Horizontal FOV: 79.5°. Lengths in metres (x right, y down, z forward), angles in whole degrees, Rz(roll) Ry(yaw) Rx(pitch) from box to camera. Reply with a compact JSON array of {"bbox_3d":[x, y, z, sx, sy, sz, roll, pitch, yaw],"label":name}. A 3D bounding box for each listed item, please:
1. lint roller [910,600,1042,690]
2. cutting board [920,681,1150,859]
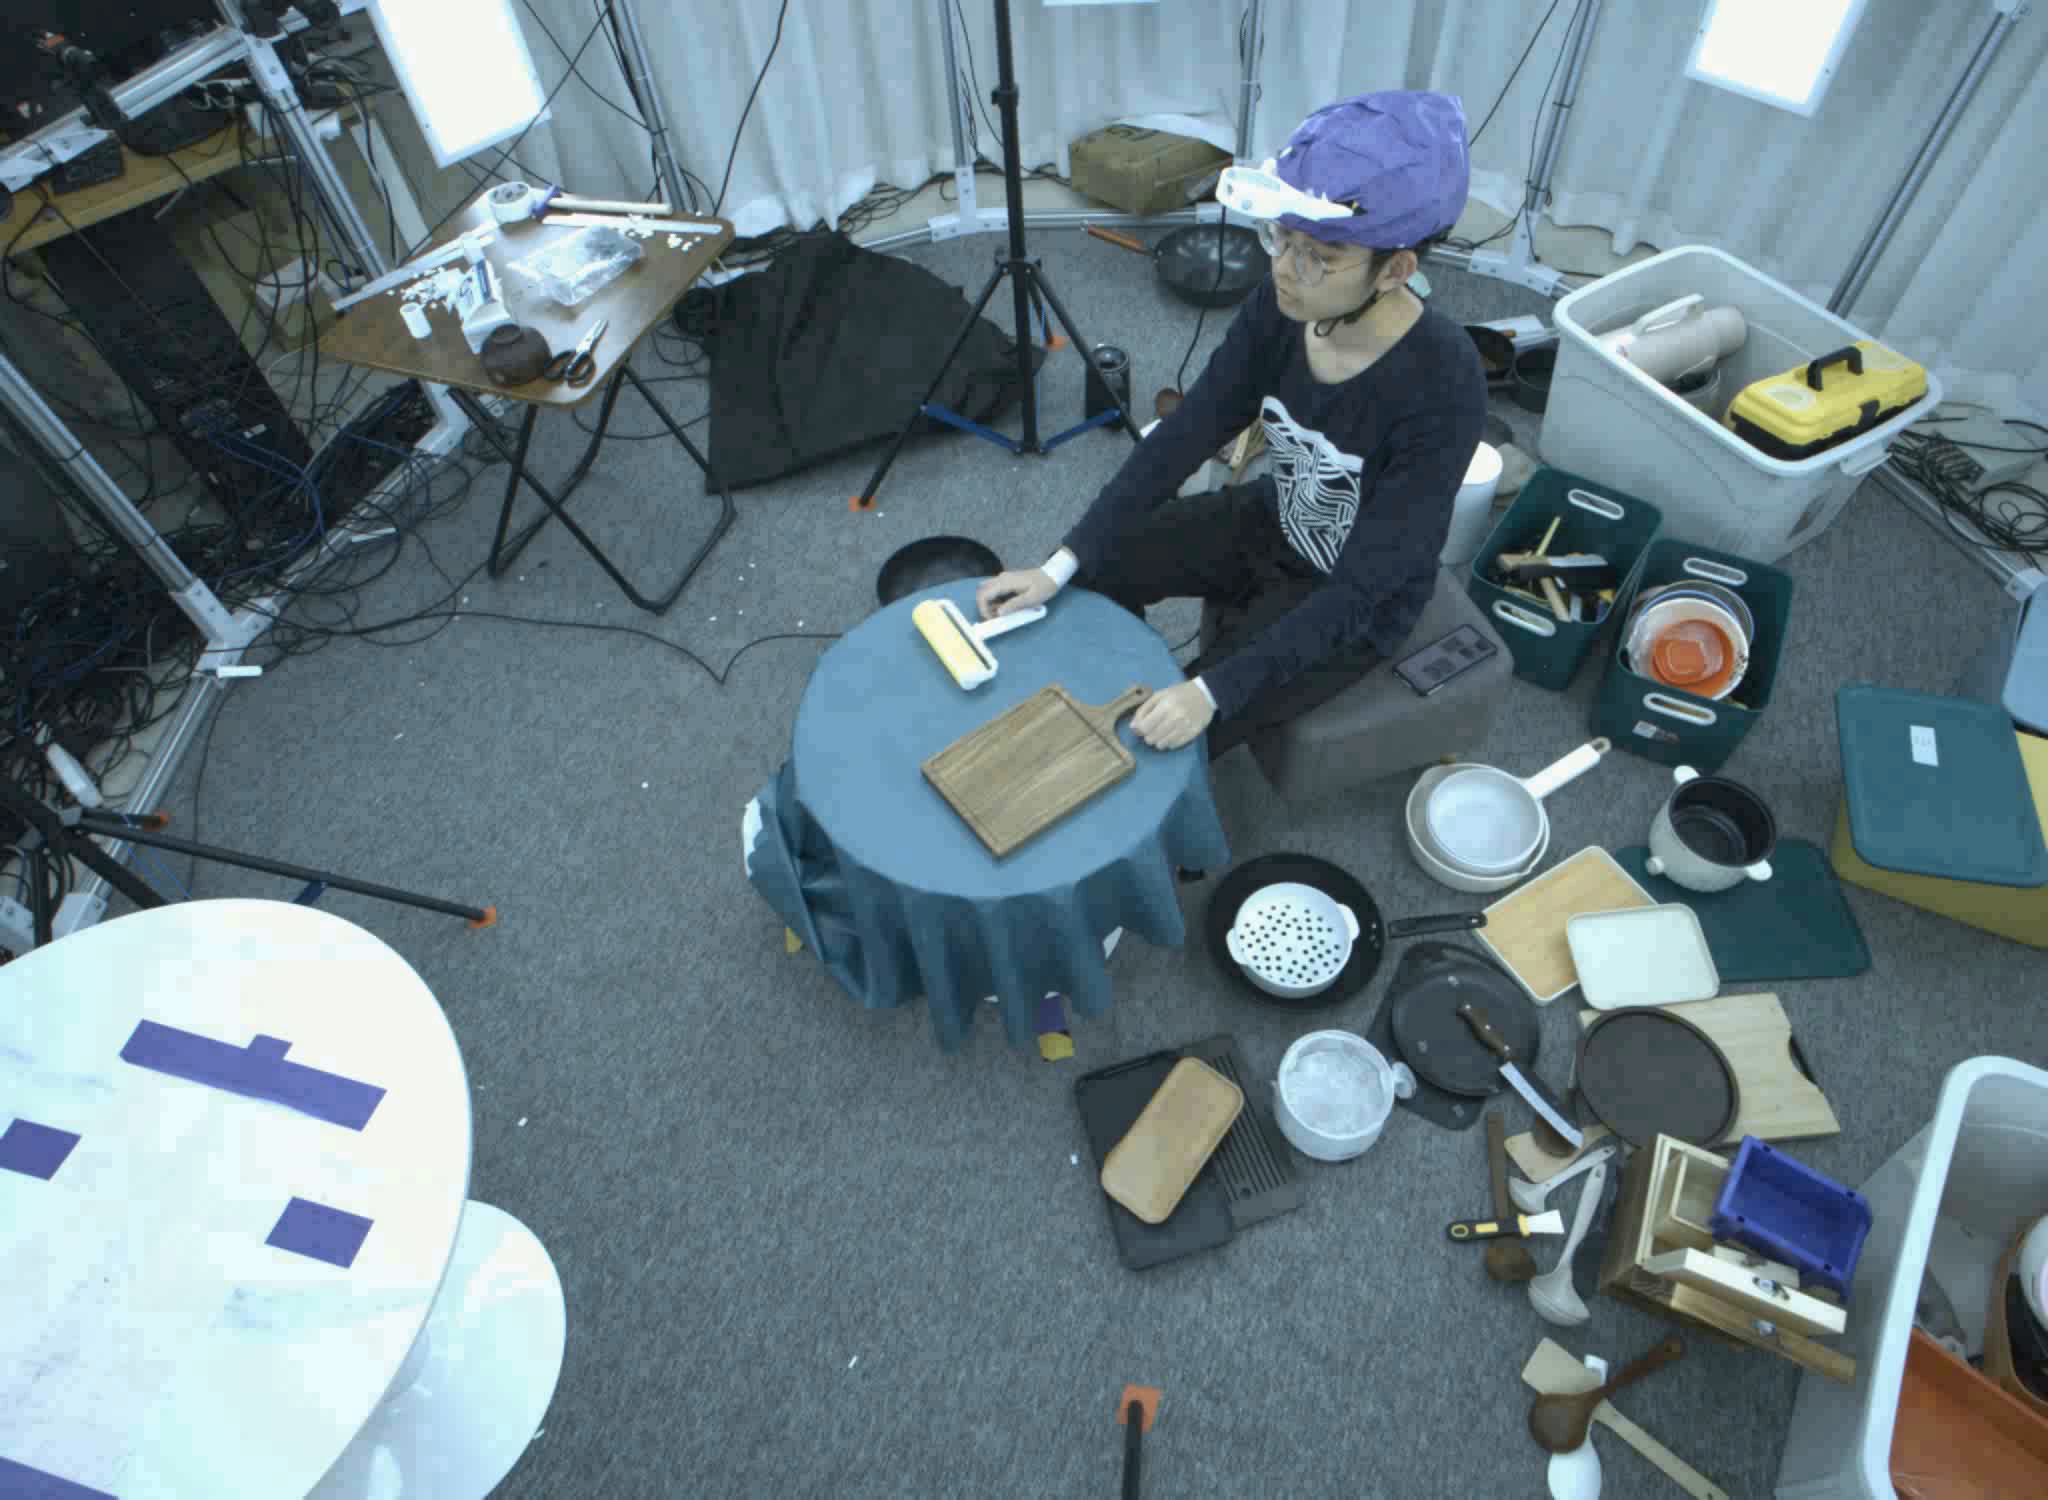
[{"bbox_3d":[-0.057,-0.195,1.905,0.193,0.052,0.171,-30,60,-15],"label":"lint roller"},{"bbox_3d":[0.045,-0.002,1.782,0.355,0.023,0.197,-33,60,-20],"label":"cutting board"}]
